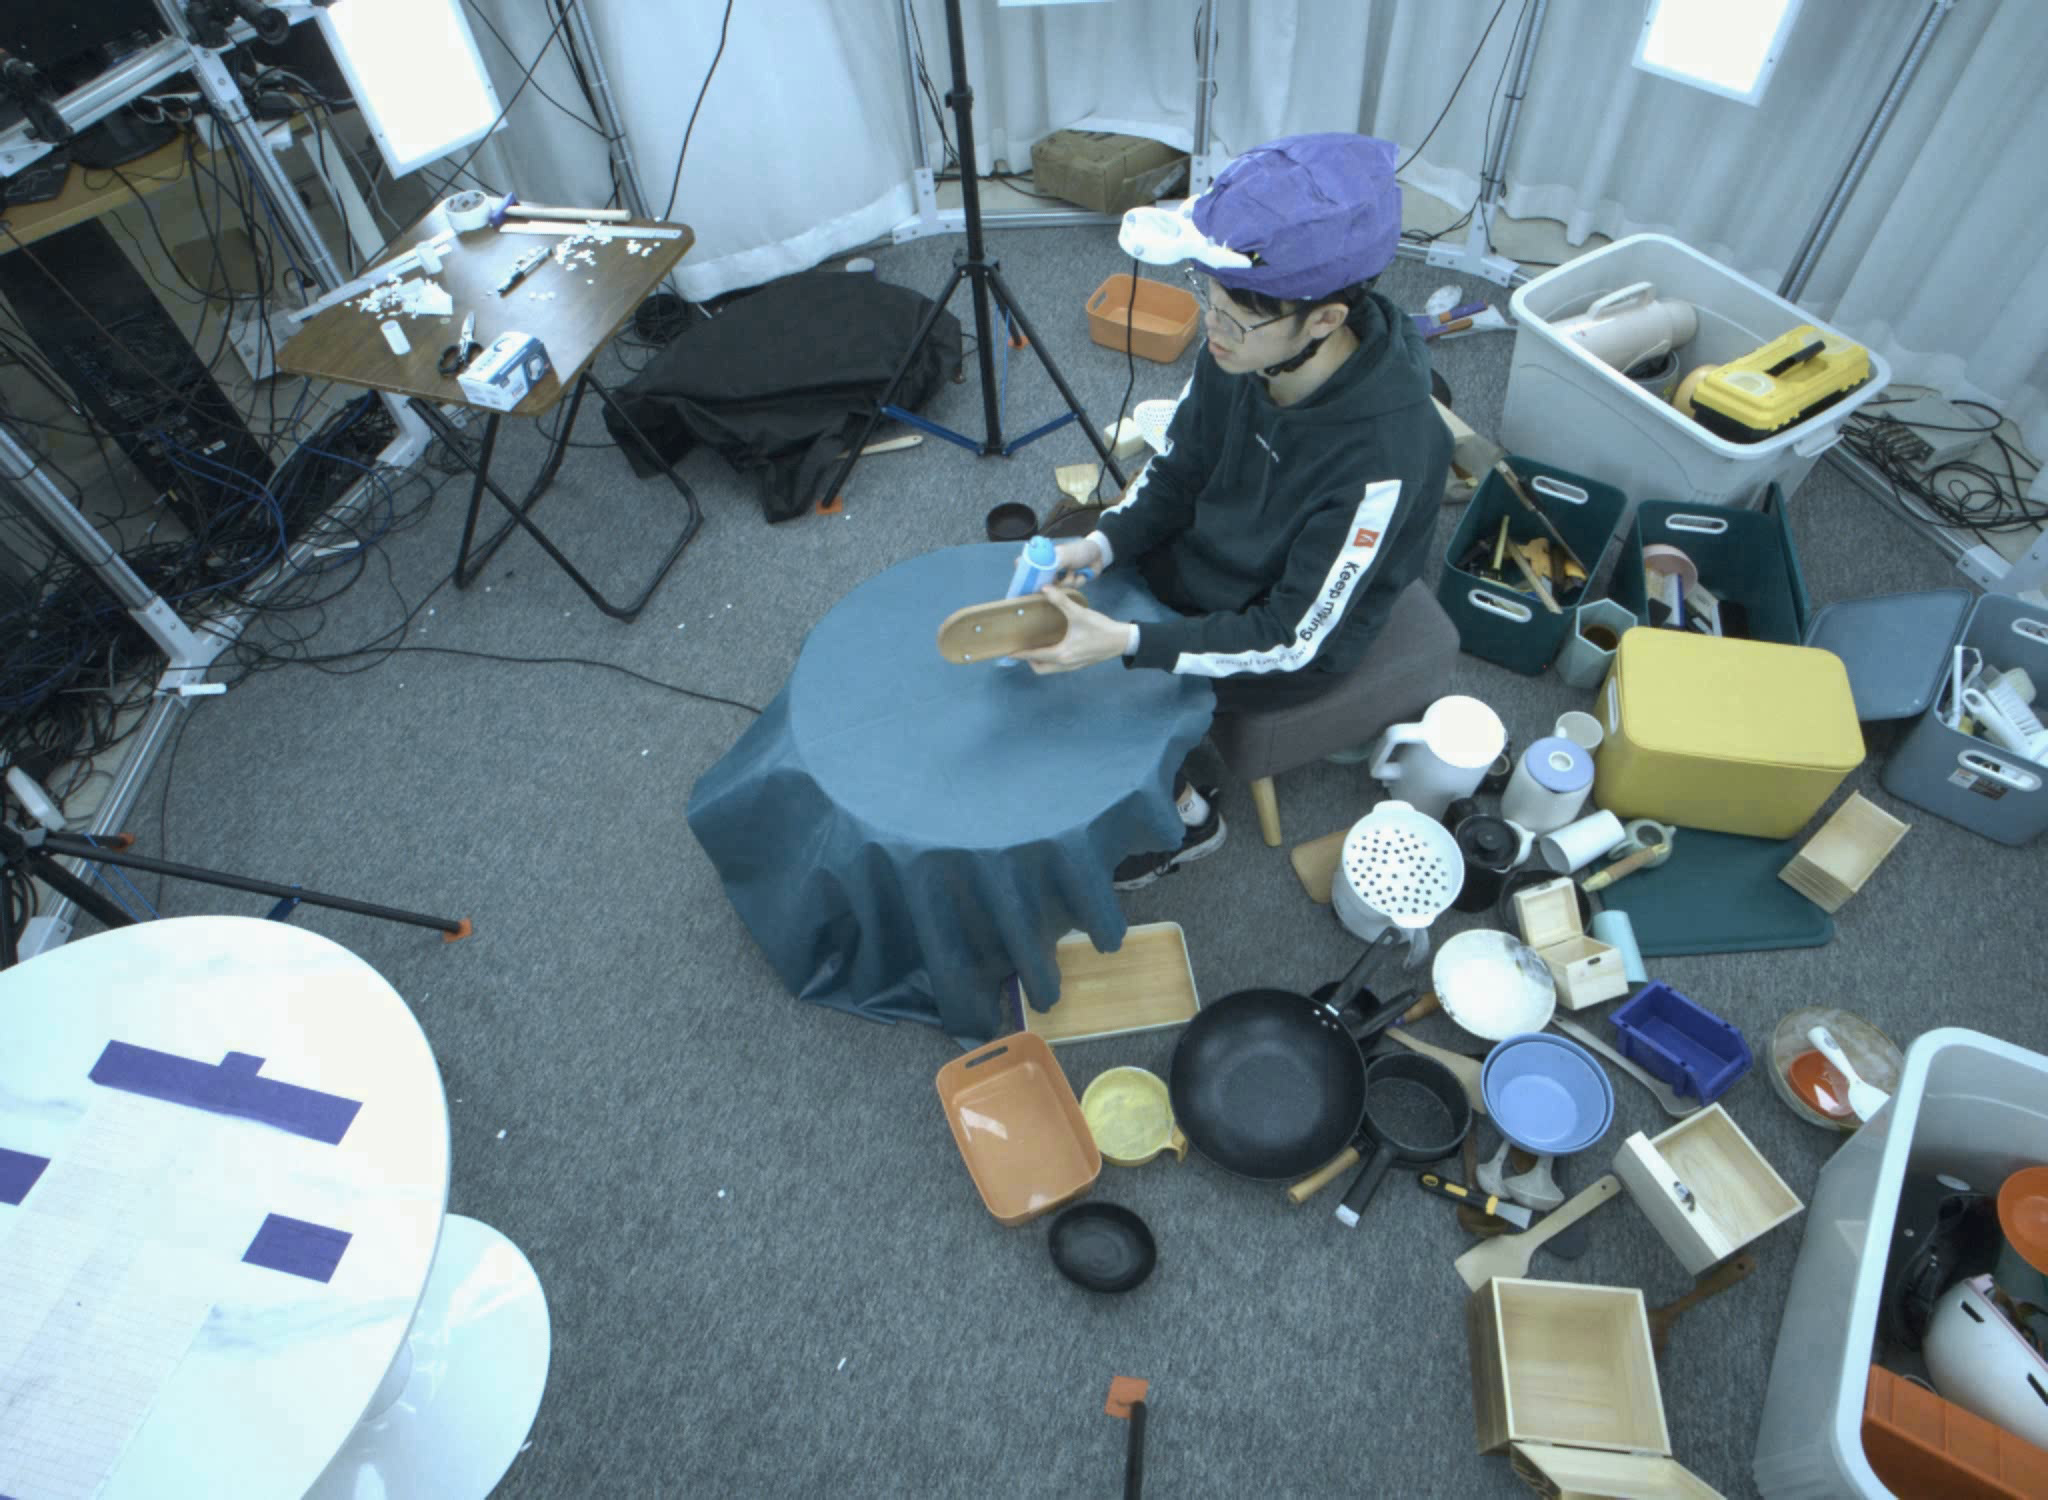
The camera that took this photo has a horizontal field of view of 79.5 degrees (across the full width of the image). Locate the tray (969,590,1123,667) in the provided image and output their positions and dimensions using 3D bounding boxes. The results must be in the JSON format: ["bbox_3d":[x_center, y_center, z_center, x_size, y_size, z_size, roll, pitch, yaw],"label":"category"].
[{"bbox_3d":[0.032,-0.172,1.725,0.234,0.102,0.020,-15,55,-20],"label":"tray"}]

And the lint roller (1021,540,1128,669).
[{"bbox_3d":[0.078,-0.228,1.802,0.067,0.229,0.182,39,45,15],"label":"lint roller"}]
